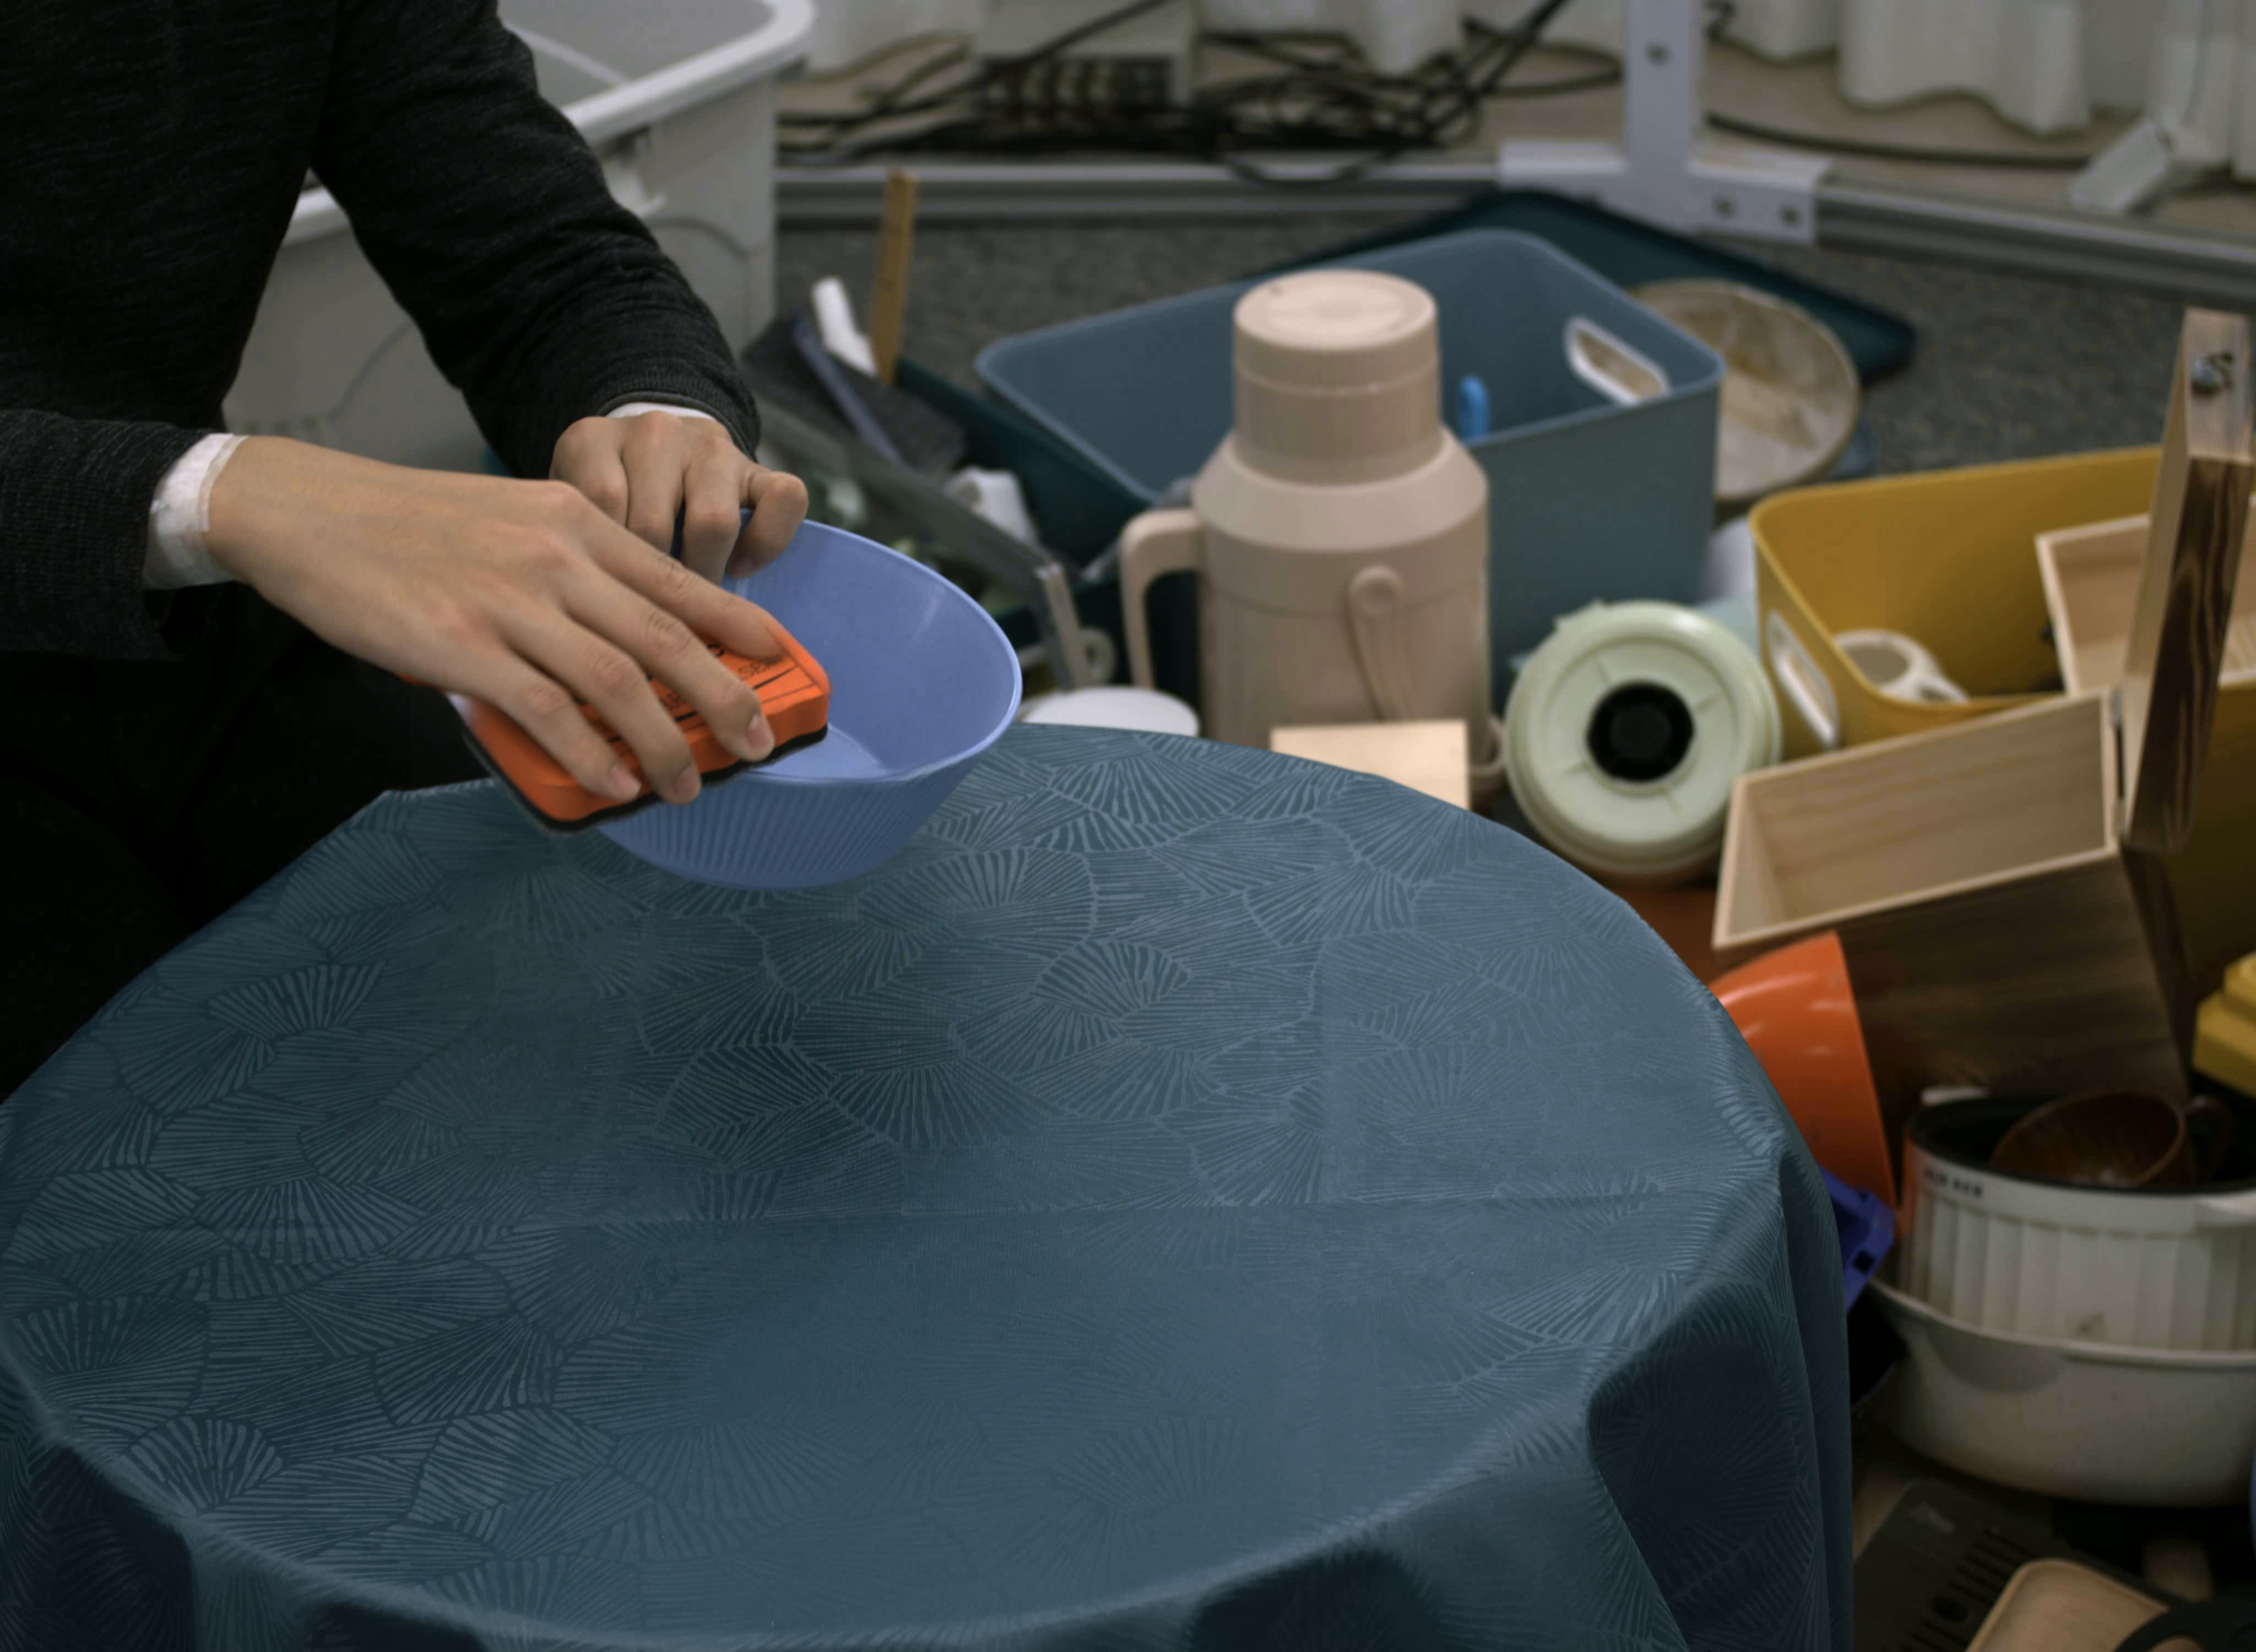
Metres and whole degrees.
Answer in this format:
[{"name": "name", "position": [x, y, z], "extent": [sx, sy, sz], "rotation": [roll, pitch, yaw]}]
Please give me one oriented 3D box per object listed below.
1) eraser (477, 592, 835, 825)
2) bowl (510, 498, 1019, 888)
[{"name": "eraser", "position": [-0.151, -0.038, 1.808], "extent": [0.109, 0.022, 0.059], "rotation": [-21, 49, -31]}, {"name": "bowl", "position": [-0.128, -0.038, 1.901], "extent": [0.175, 0.069, 0.179], "rotation": [12, 30, -7]}]
